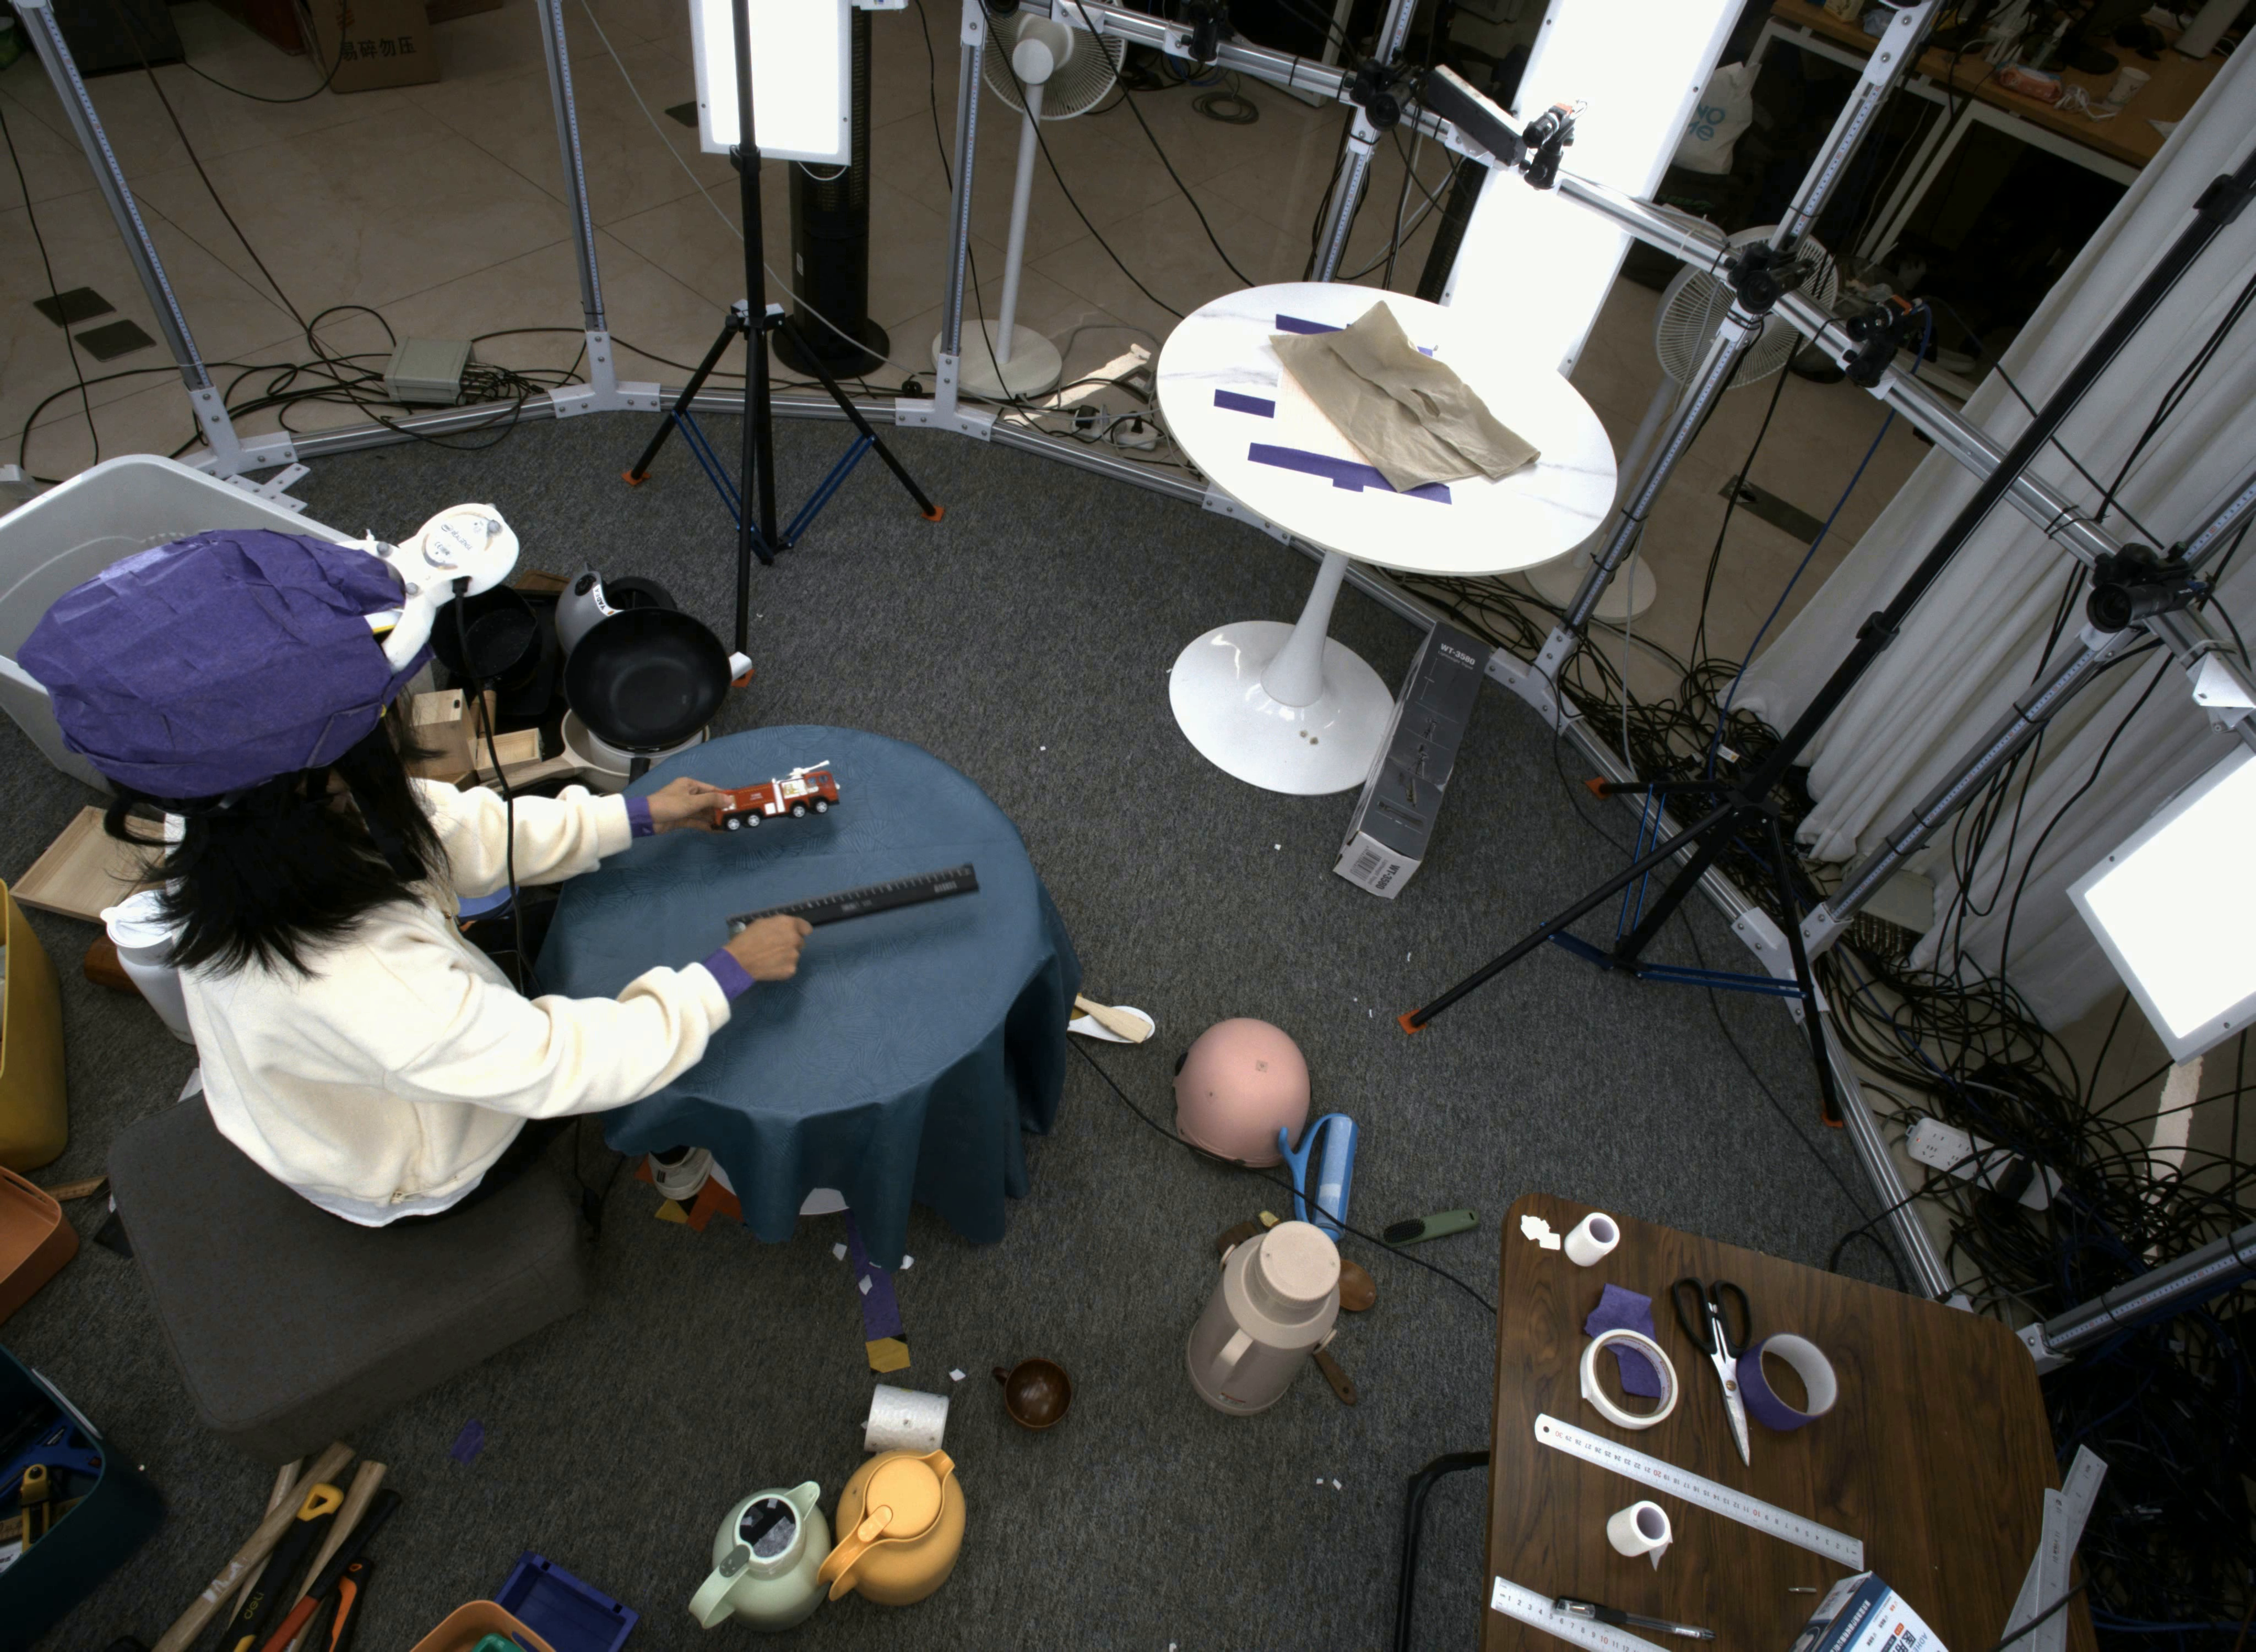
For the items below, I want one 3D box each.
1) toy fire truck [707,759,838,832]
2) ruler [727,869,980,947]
[{"bbox_3d":[-0.459,-0.036,1.671,0.169,0.052,0.072,-15,101,-28],"label":"toy fire truck"},{"bbox_3d":[-0.333,0.095,1.600,0.314,0.017,0.039,-11,82,-22],"label":"ruler"}]
